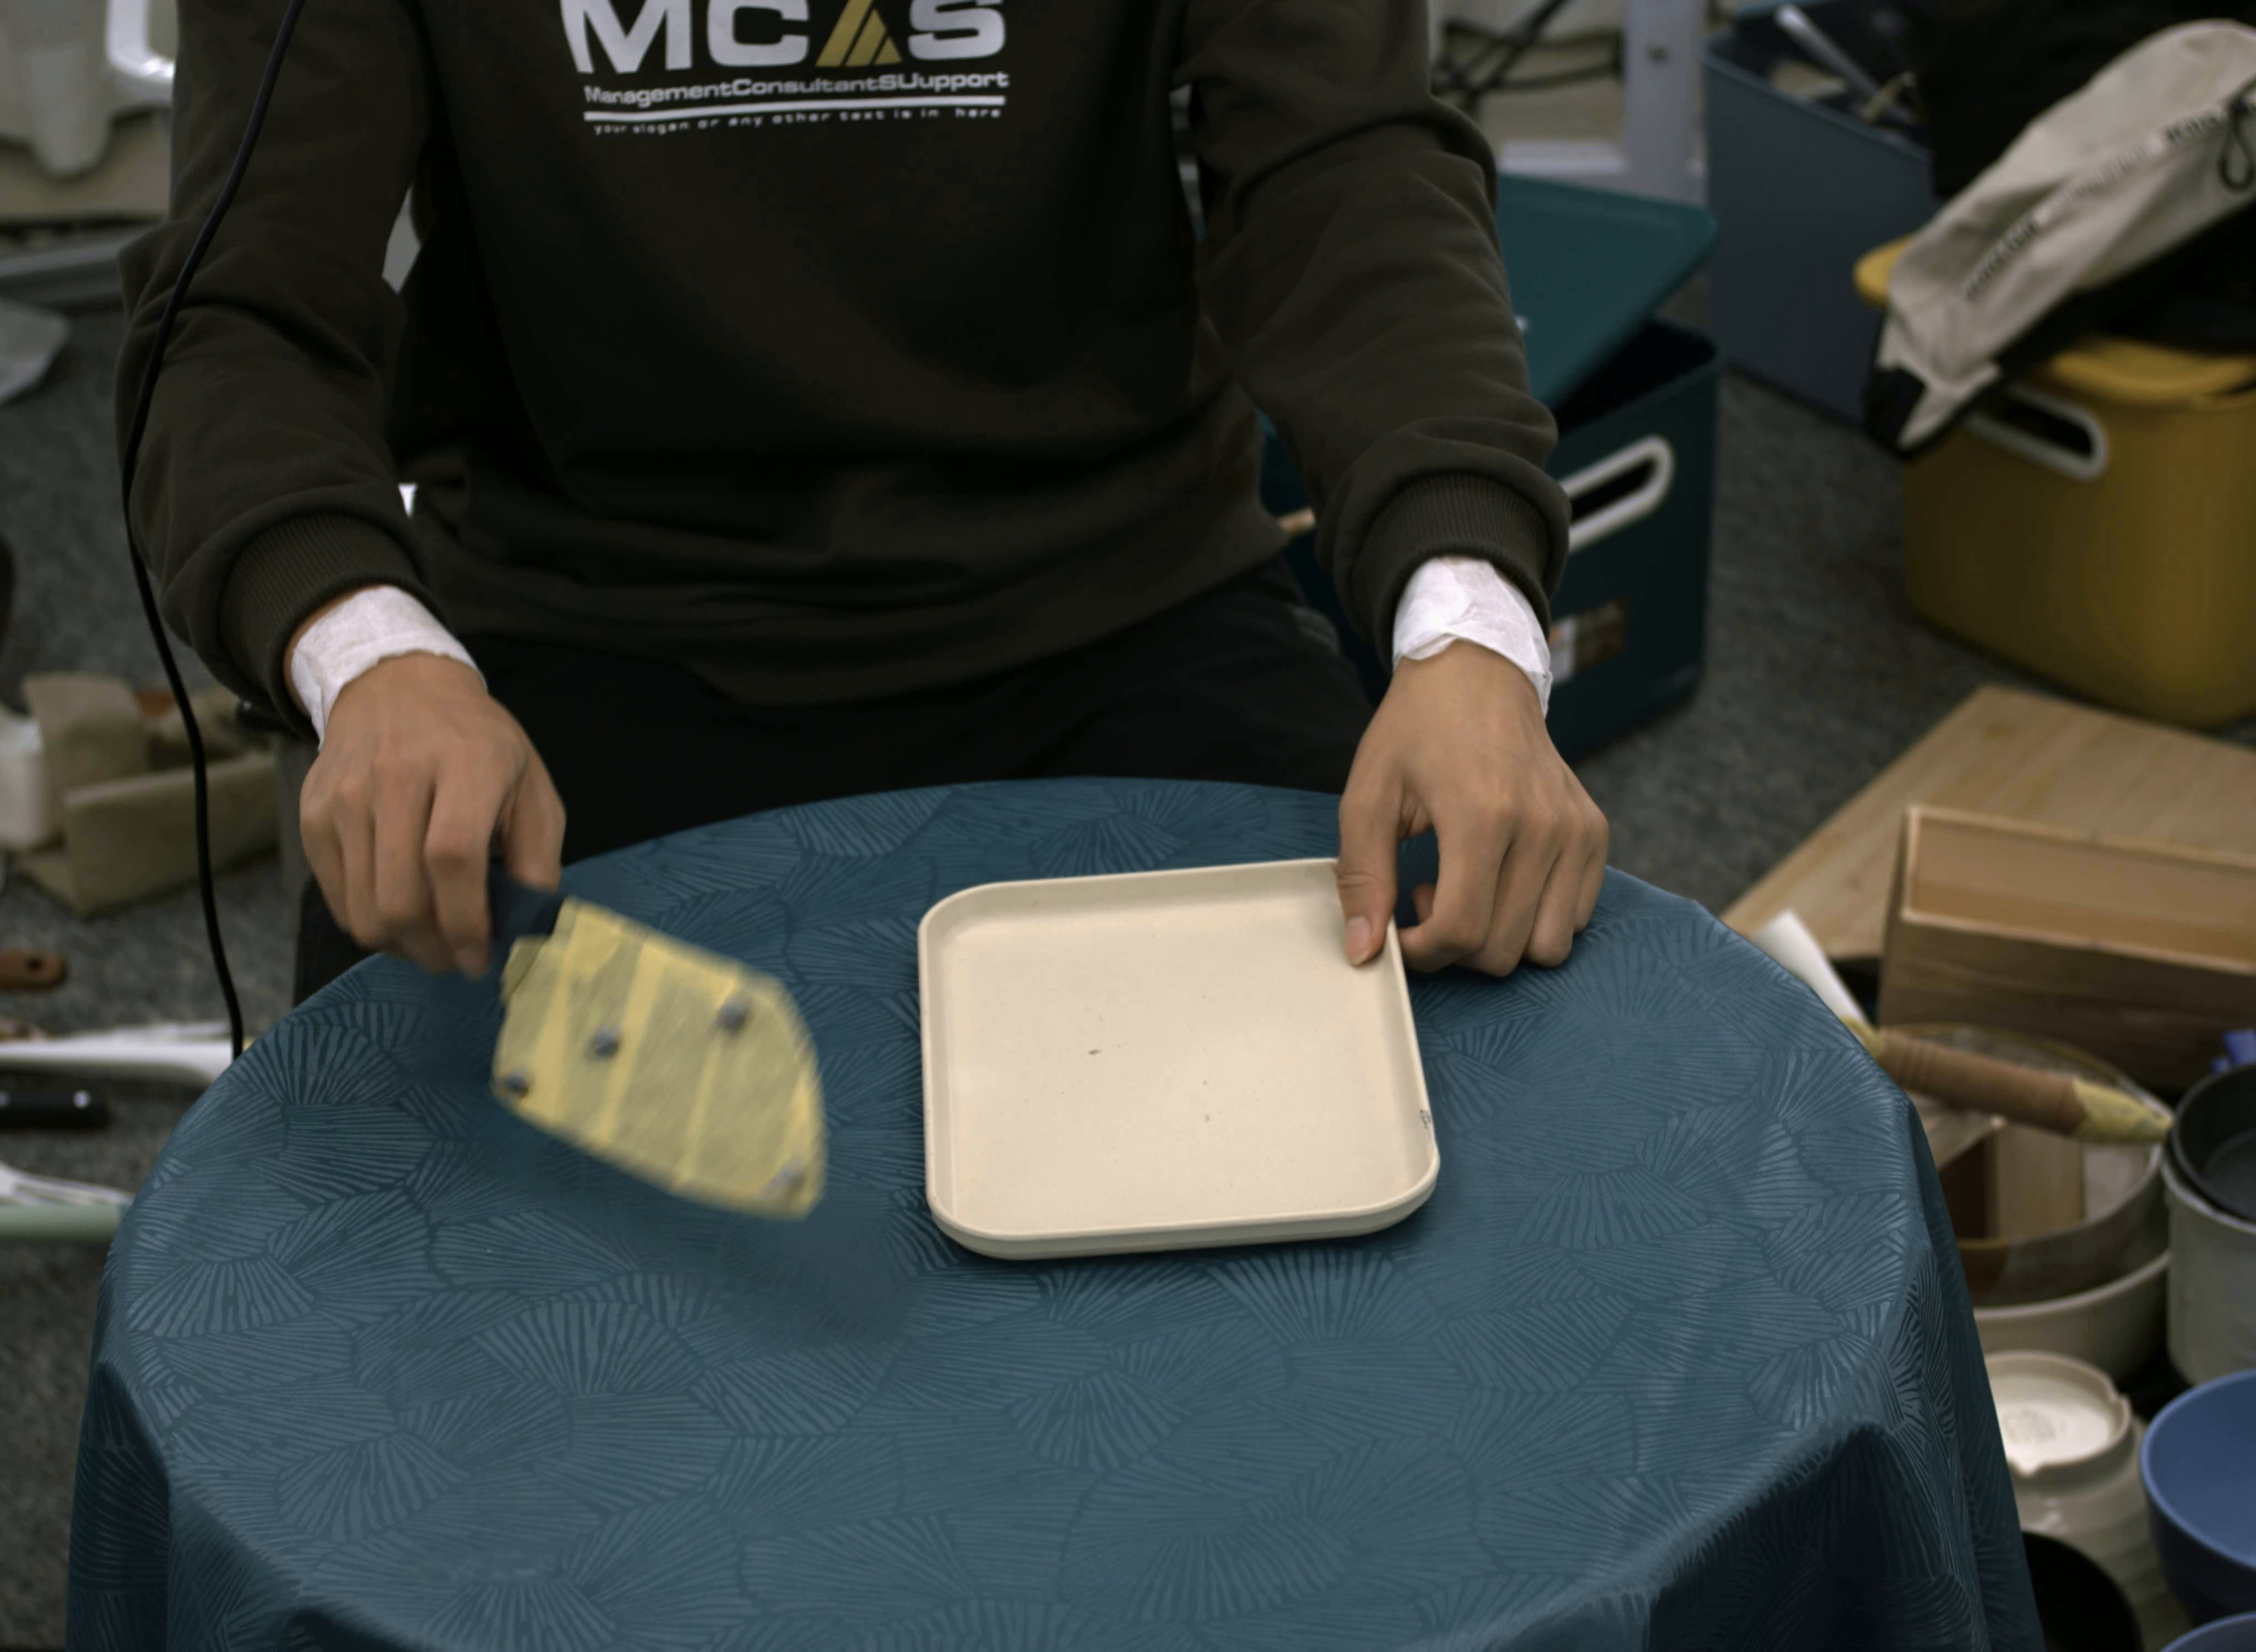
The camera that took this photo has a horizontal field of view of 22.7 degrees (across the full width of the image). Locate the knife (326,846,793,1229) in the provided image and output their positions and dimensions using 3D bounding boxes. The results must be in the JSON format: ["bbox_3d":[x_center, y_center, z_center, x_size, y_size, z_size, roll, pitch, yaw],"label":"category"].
[{"bbox_3d":[-0.191,0.067,1.857,0.027,0.081,0.289,19,5,-41],"label":"knife"}]

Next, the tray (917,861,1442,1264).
[{"bbox_3d":[0.014,0.080,1.921,0.170,0.017,0.243,-5,28,-1],"label":"tray"}]
